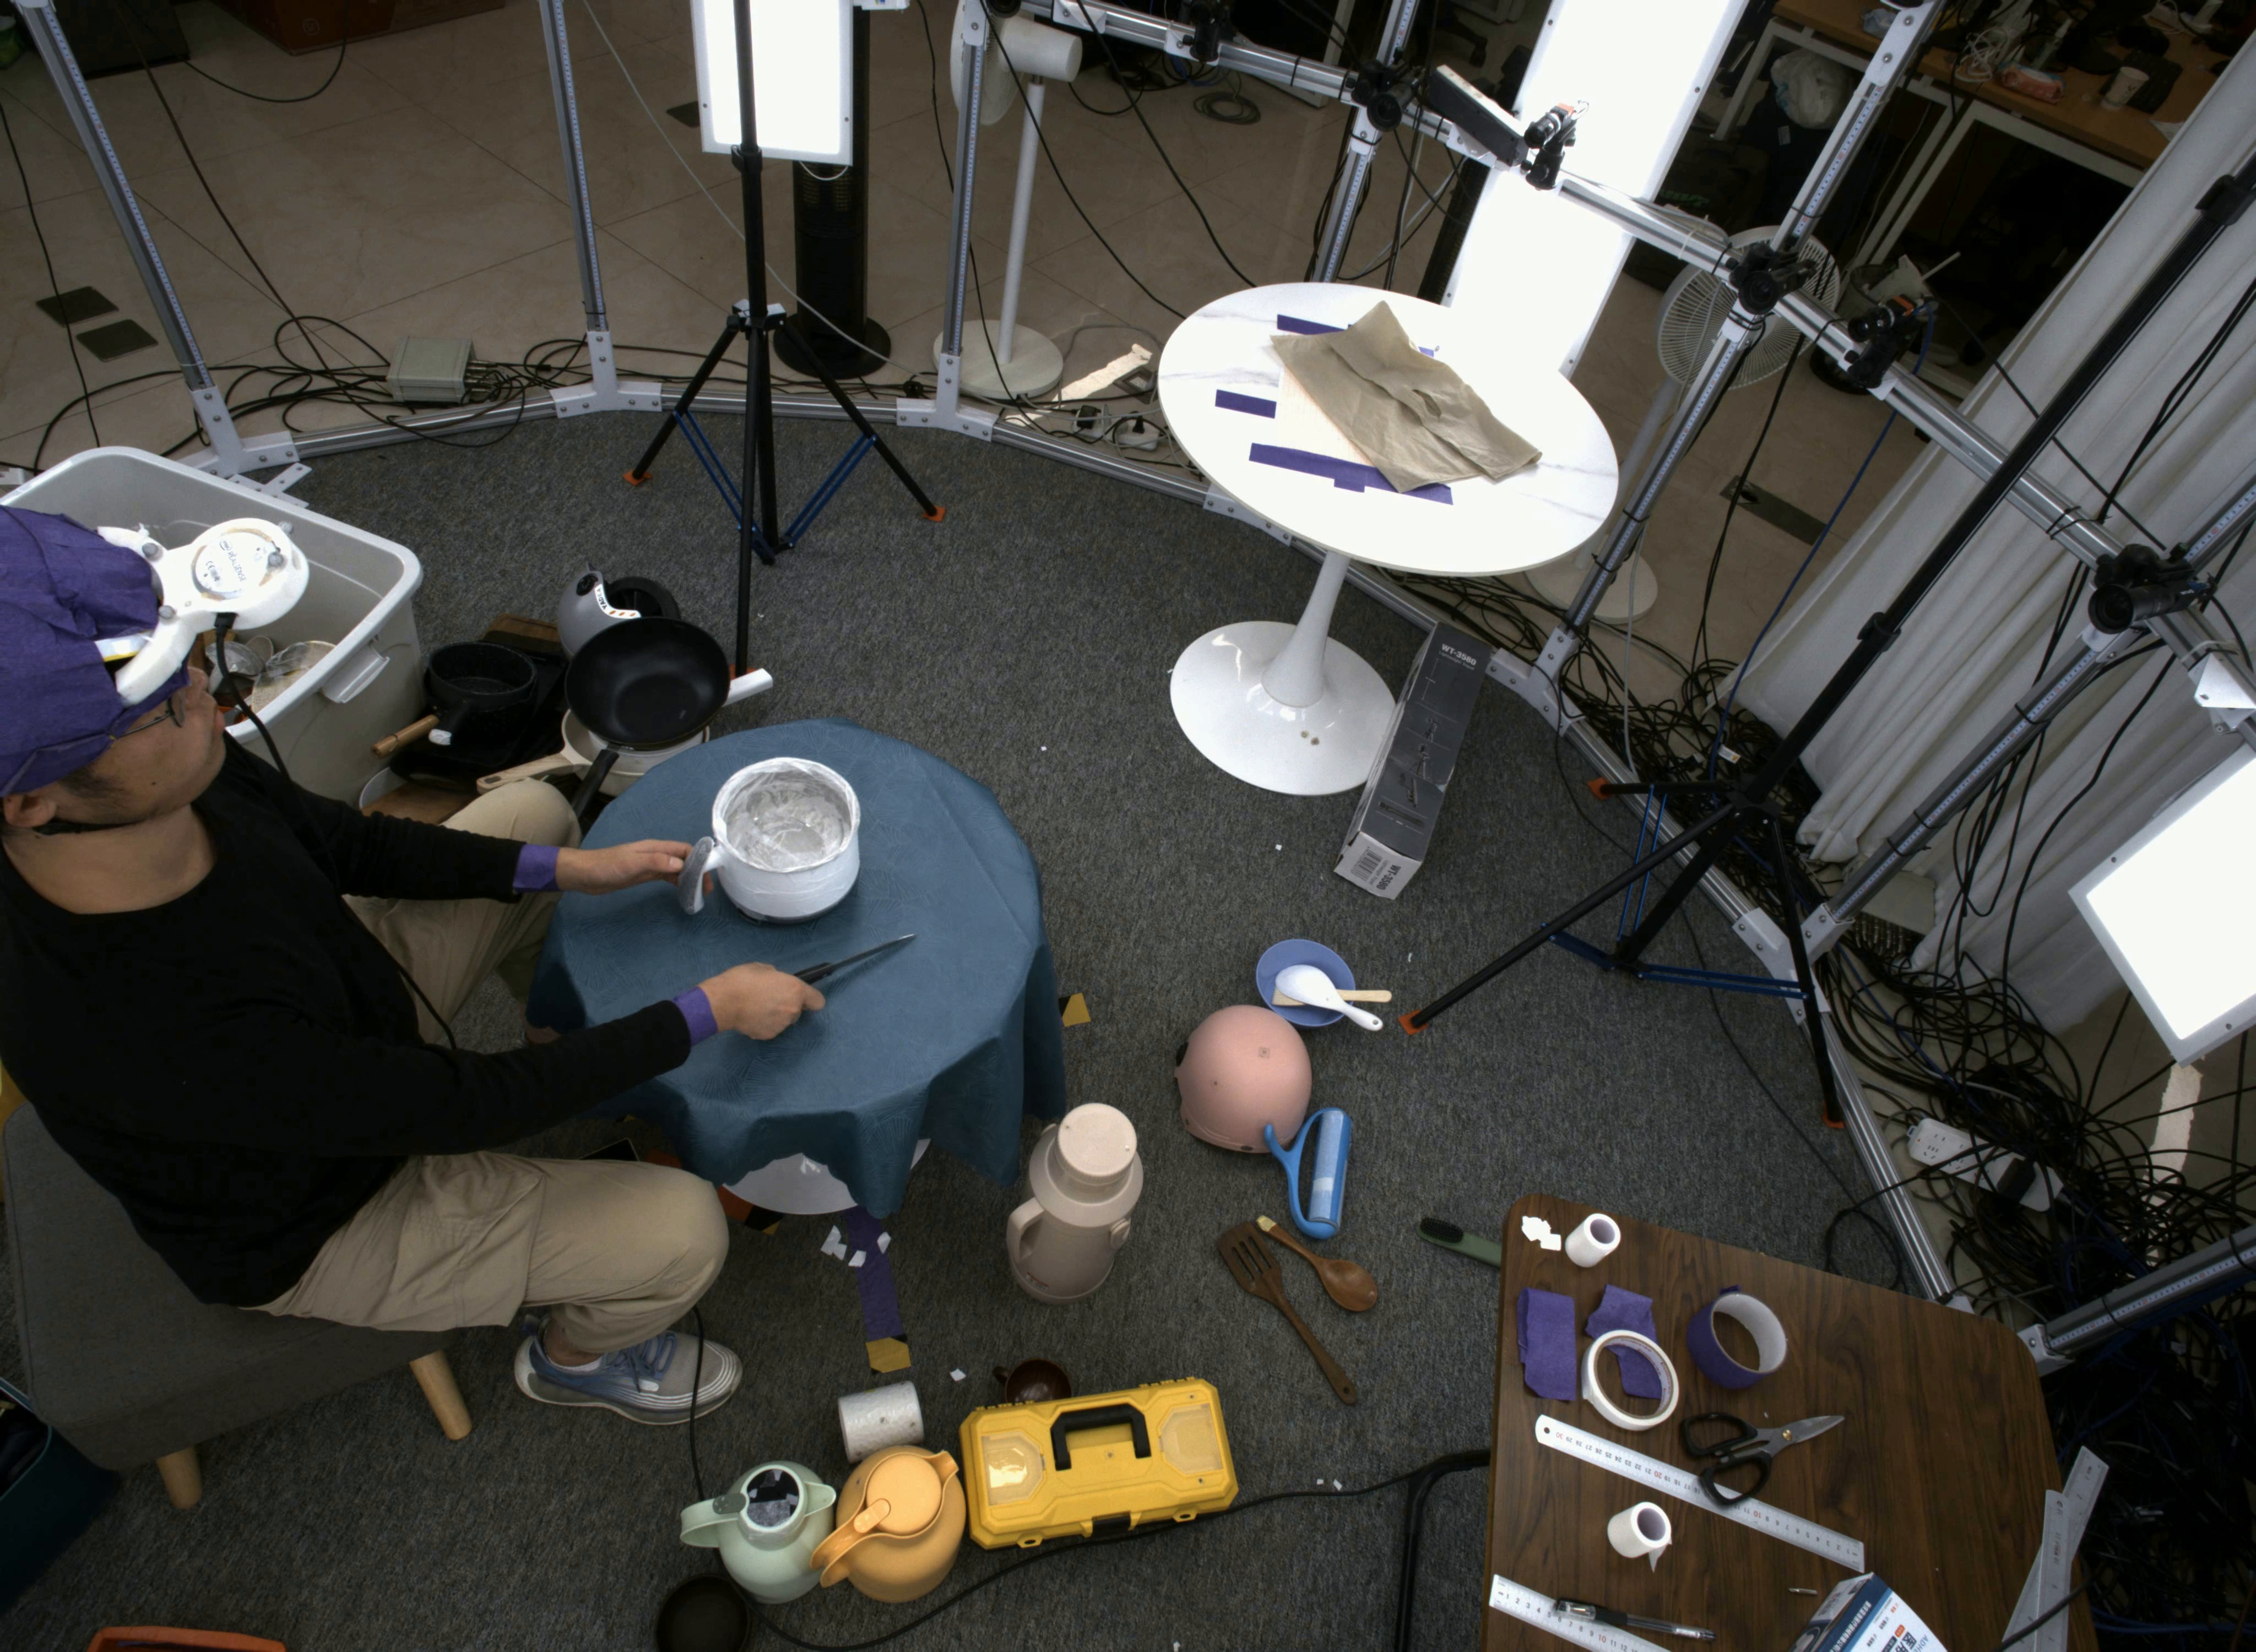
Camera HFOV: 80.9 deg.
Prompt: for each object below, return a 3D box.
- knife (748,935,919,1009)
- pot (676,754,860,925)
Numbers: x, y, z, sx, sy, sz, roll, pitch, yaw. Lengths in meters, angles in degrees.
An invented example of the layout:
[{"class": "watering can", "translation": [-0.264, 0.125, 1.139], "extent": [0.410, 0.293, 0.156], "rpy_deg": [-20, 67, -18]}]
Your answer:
[{"class": "knife", "translation": [-0.353, 0.170, 1.583], "extent": [0.240, 0.024, 0.016], "rpy_deg": [-21, 75, -39]}, {"class": "pot", "translation": [-0.446, 0.029, 1.602], "extent": [0.235, 0.139, 0.174], "rpy_deg": [-24, 61, -29]}]
